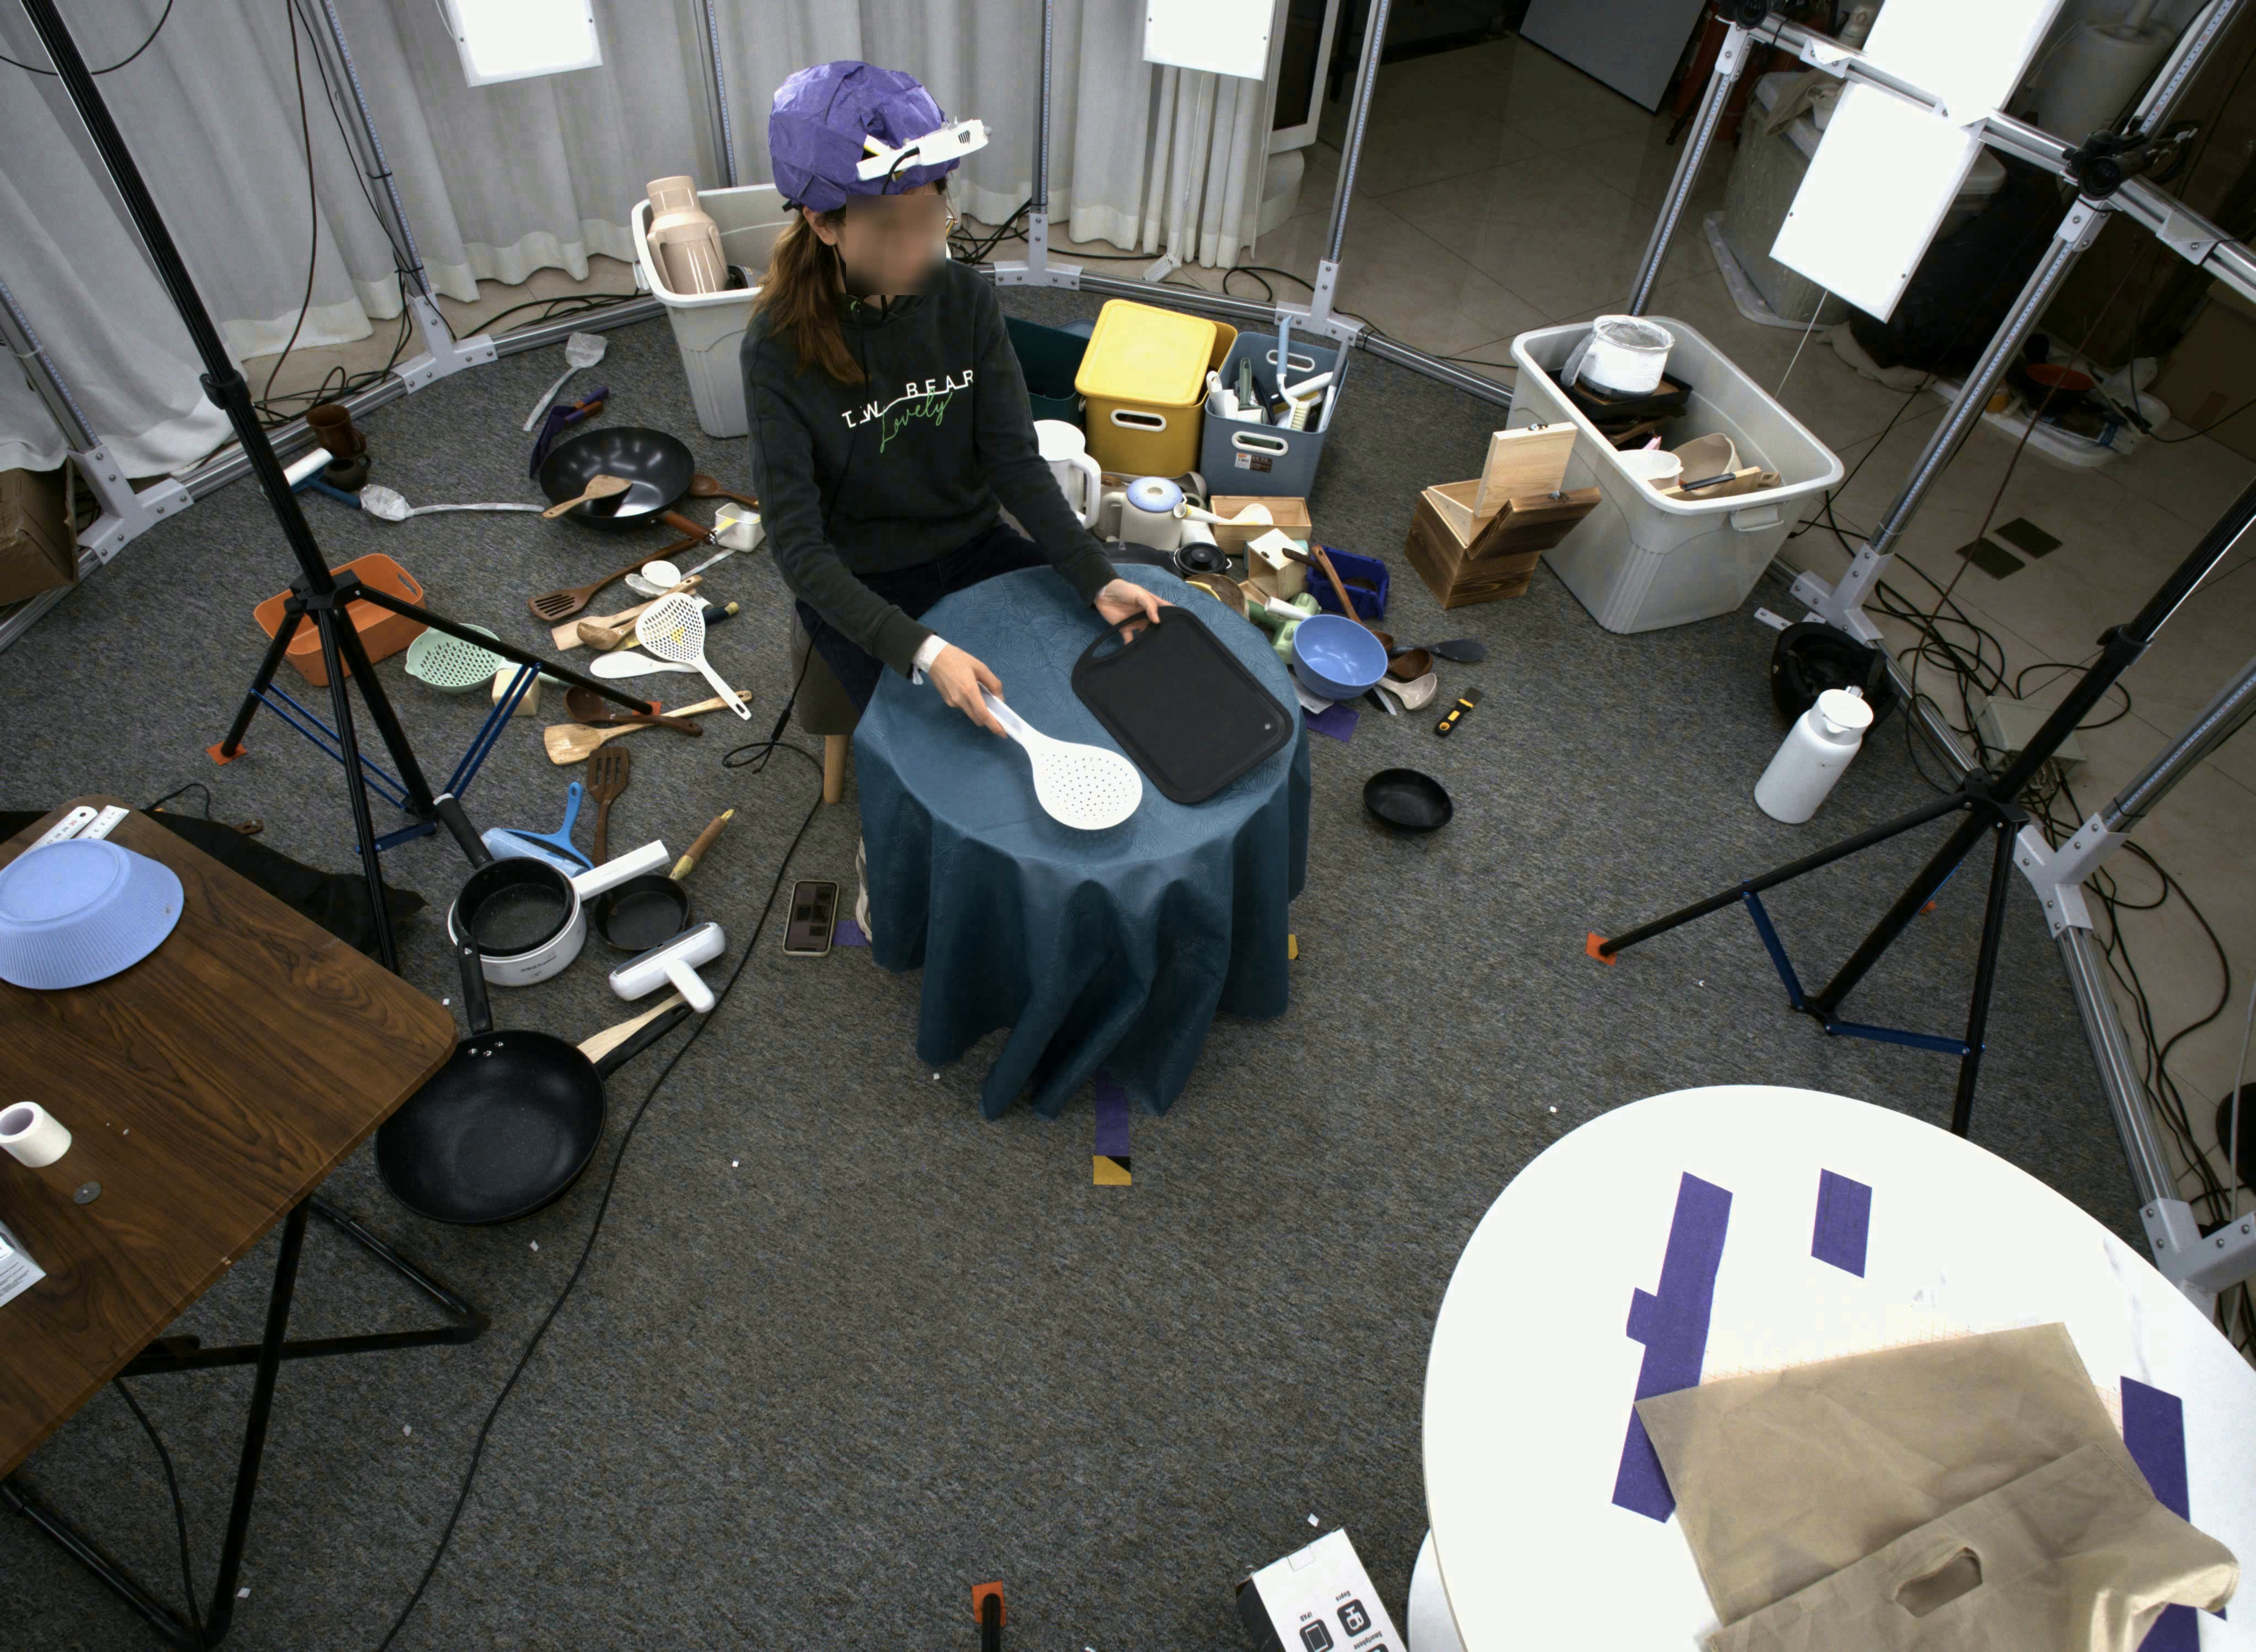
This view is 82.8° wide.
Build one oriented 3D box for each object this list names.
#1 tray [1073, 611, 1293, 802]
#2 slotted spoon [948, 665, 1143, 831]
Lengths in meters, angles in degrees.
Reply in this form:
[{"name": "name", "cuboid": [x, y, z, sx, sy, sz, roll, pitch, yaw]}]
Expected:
[{"name": "tray", "cuboid": [0.068, -0.180, 1.806, 0.212, 0.009, 0.332, -33, 57, -11]}, {"name": "slotted spoon", "cuboid": [-0.123, -0.110, 1.720, 0.137, 0.045, 0.355, -34, 65, -28]}]
